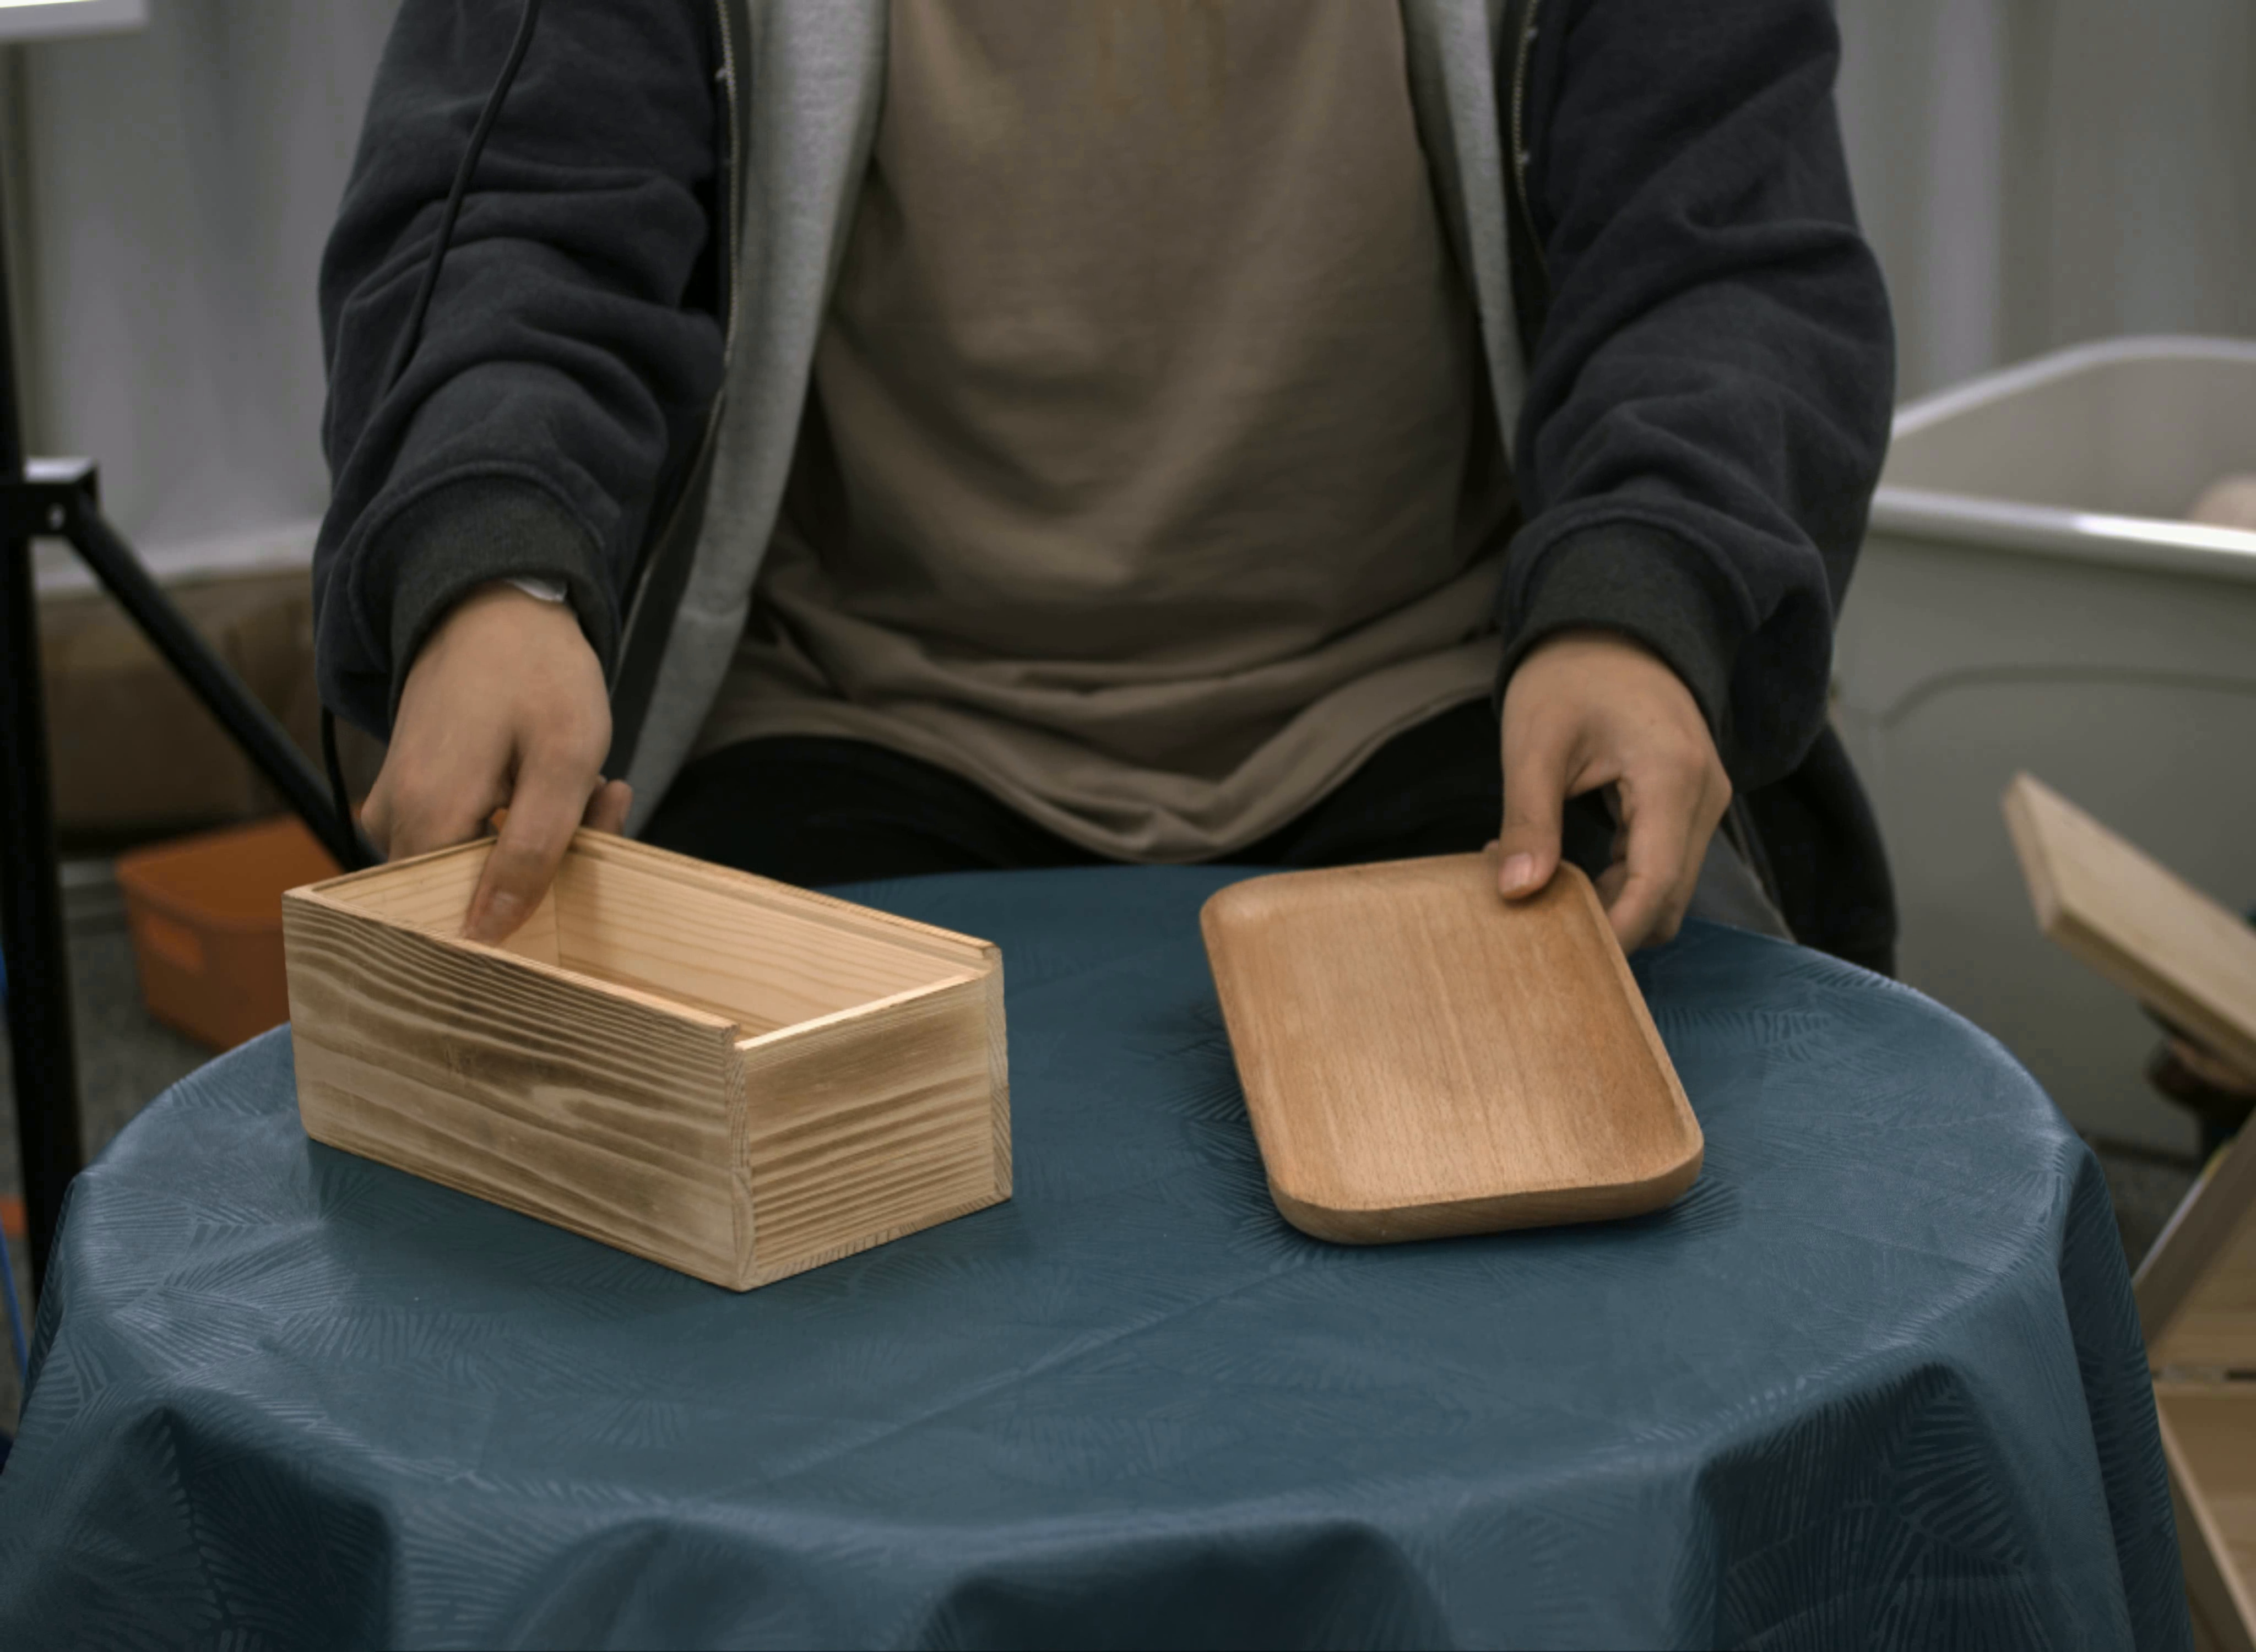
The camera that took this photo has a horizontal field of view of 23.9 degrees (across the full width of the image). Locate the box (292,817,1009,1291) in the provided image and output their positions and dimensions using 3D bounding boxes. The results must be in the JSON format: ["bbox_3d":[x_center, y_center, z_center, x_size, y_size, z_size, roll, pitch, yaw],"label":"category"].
[{"bbox_3d":[-0.145,0.064,1.594,0.105,0.080,0.216,-16,20,-40],"label":"box"}]

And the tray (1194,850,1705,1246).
[{"bbox_3d":[0.094,0.065,1.615,0.129,0.023,0.253,-3,21,-3],"label":"tray"}]
